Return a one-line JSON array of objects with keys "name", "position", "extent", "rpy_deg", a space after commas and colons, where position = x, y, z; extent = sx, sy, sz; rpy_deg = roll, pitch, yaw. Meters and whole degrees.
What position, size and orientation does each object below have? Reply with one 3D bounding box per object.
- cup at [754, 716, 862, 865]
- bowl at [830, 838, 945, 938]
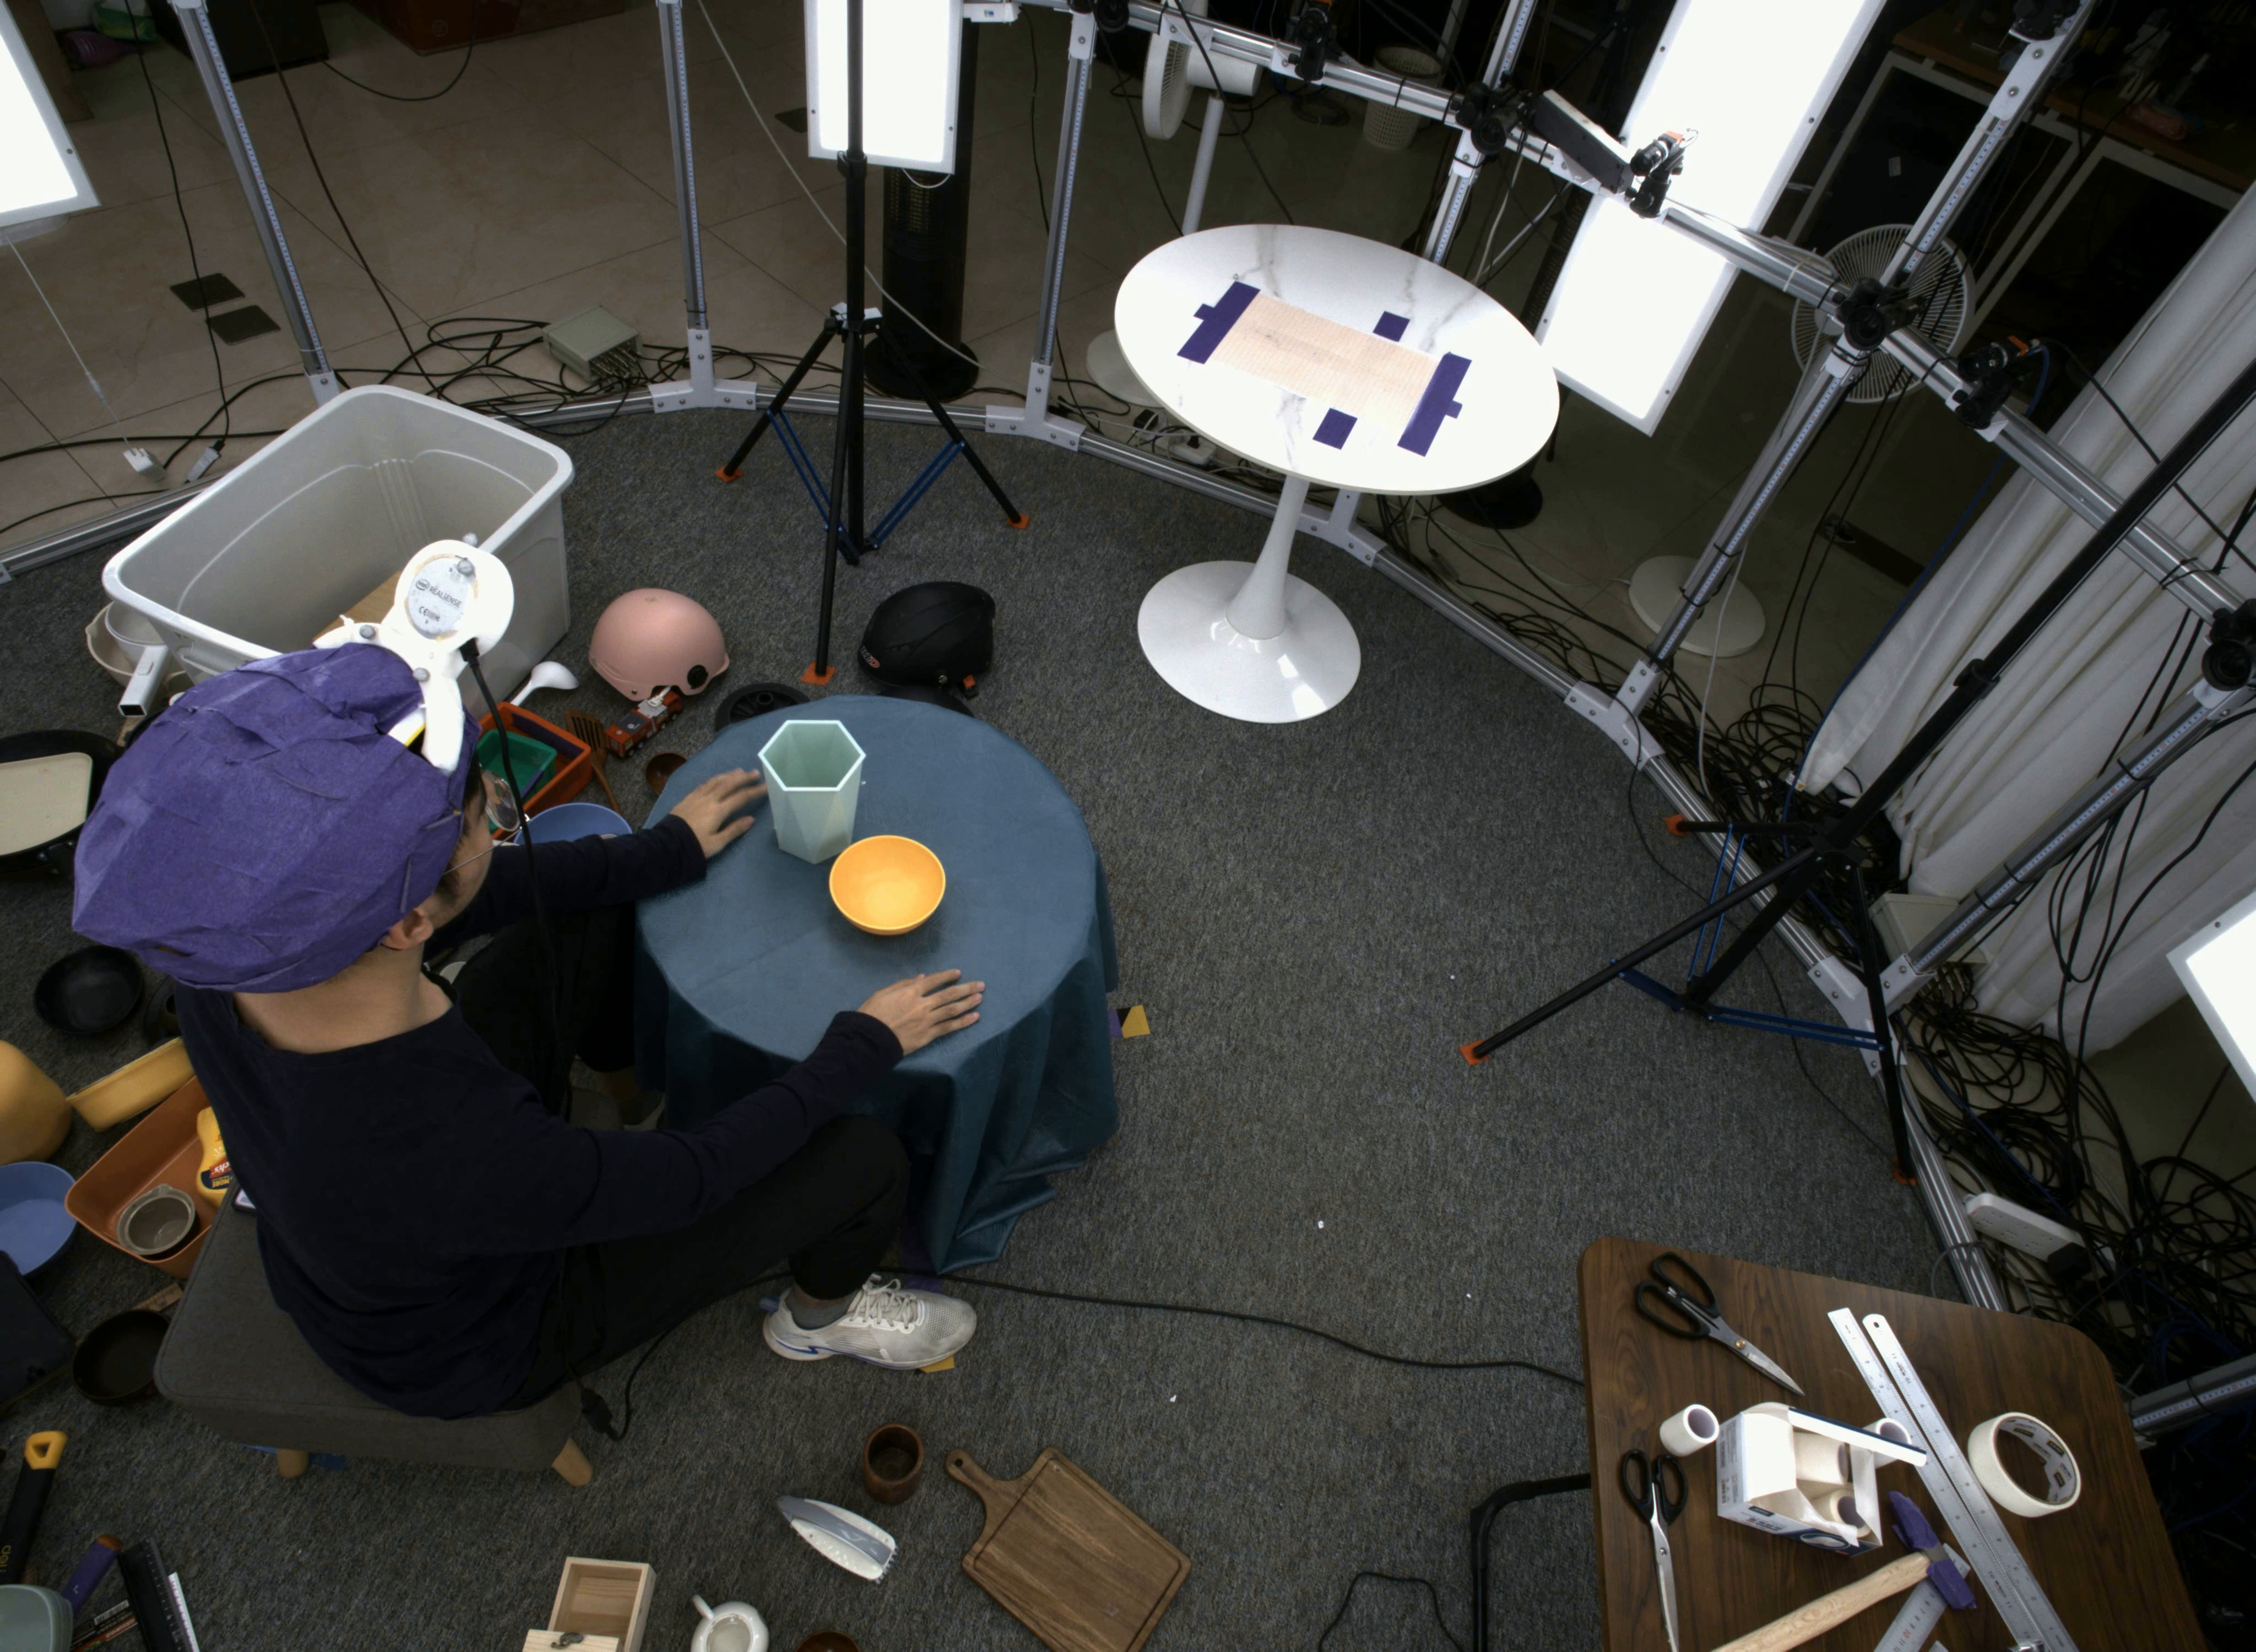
[{"name": "cup", "position": [-0.403, -0.042, 1.657], "extent": [0.115, 0.166, 0.128], "rpy_deg": [-30, 63, -28]}, {"name": "bowl", "position": [-0.305, 0.088, 1.654], "extent": [0.145, 0.061, 0.143], "rpy_deg": [6, 53, -7]}]
